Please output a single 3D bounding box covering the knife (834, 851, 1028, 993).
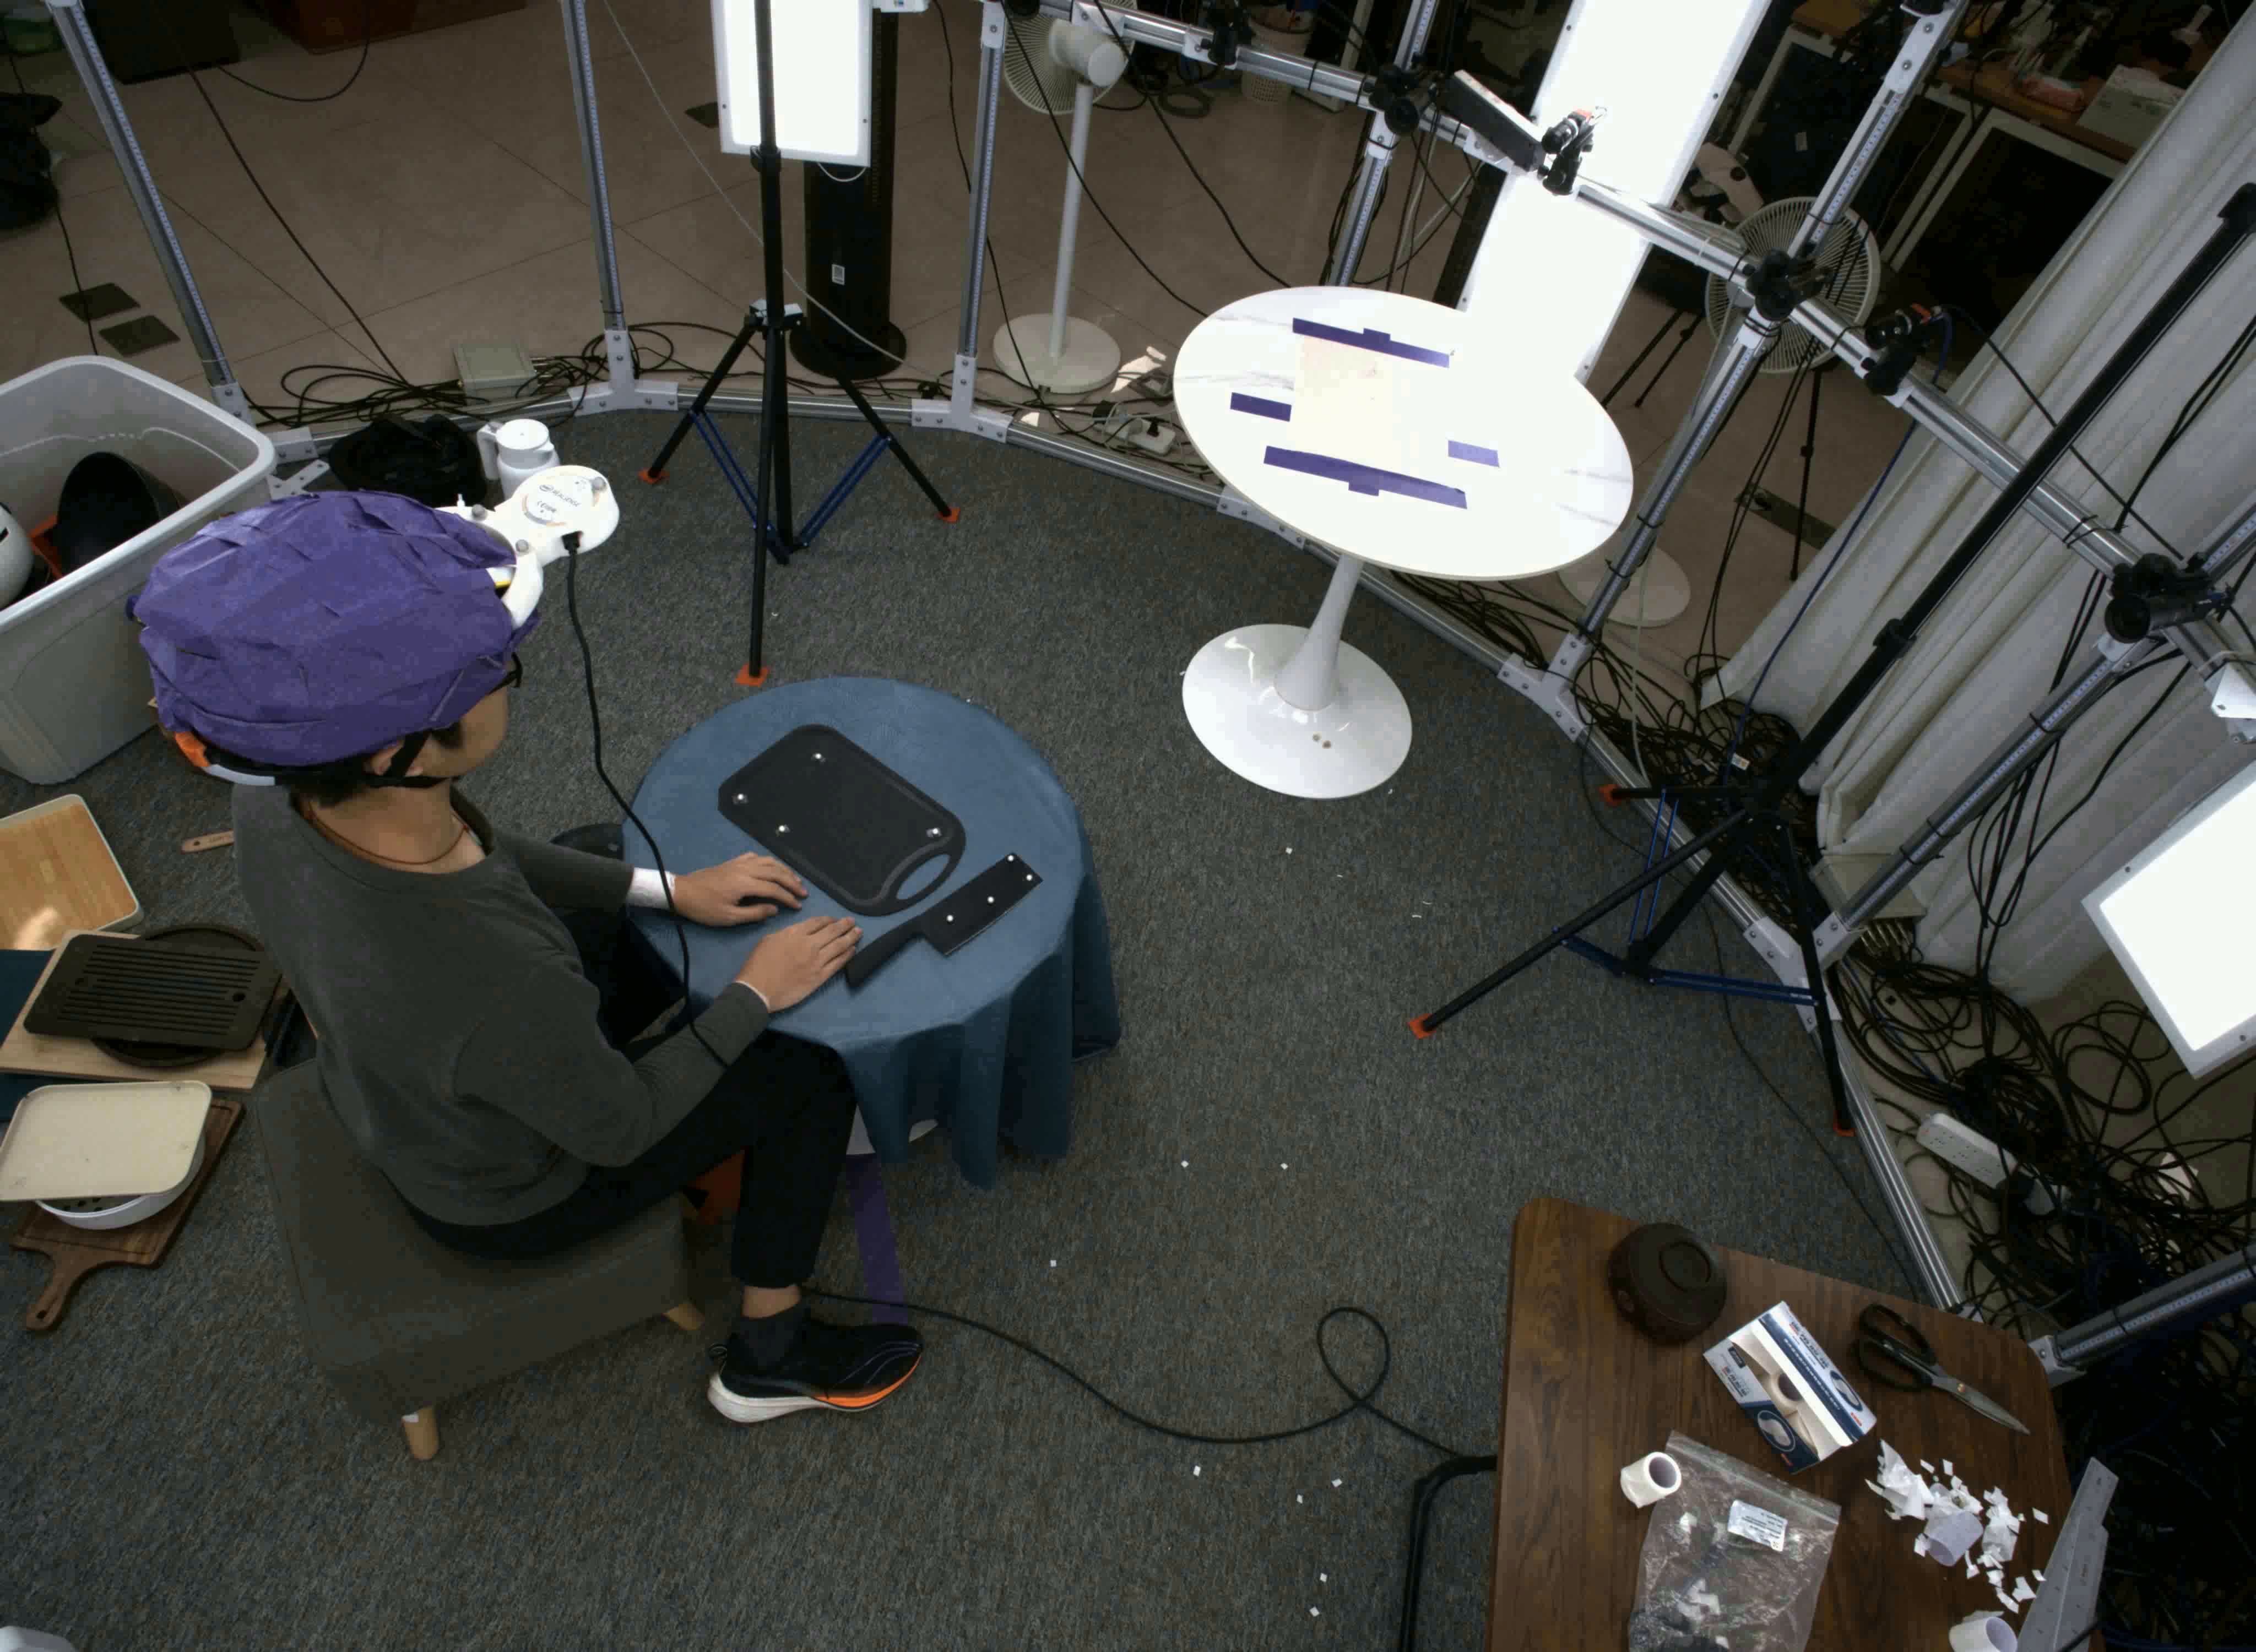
[{"bbox_3d":[-0.253,0.124,1.679,0.303,0.021,0.079,-33,68,-33],"label":"knife"}]

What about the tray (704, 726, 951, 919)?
[{"bbox_3d":[-0.397,-0.009,1.745,0.319,0.010,0.211,35,54,12],"label":"tray"}]
